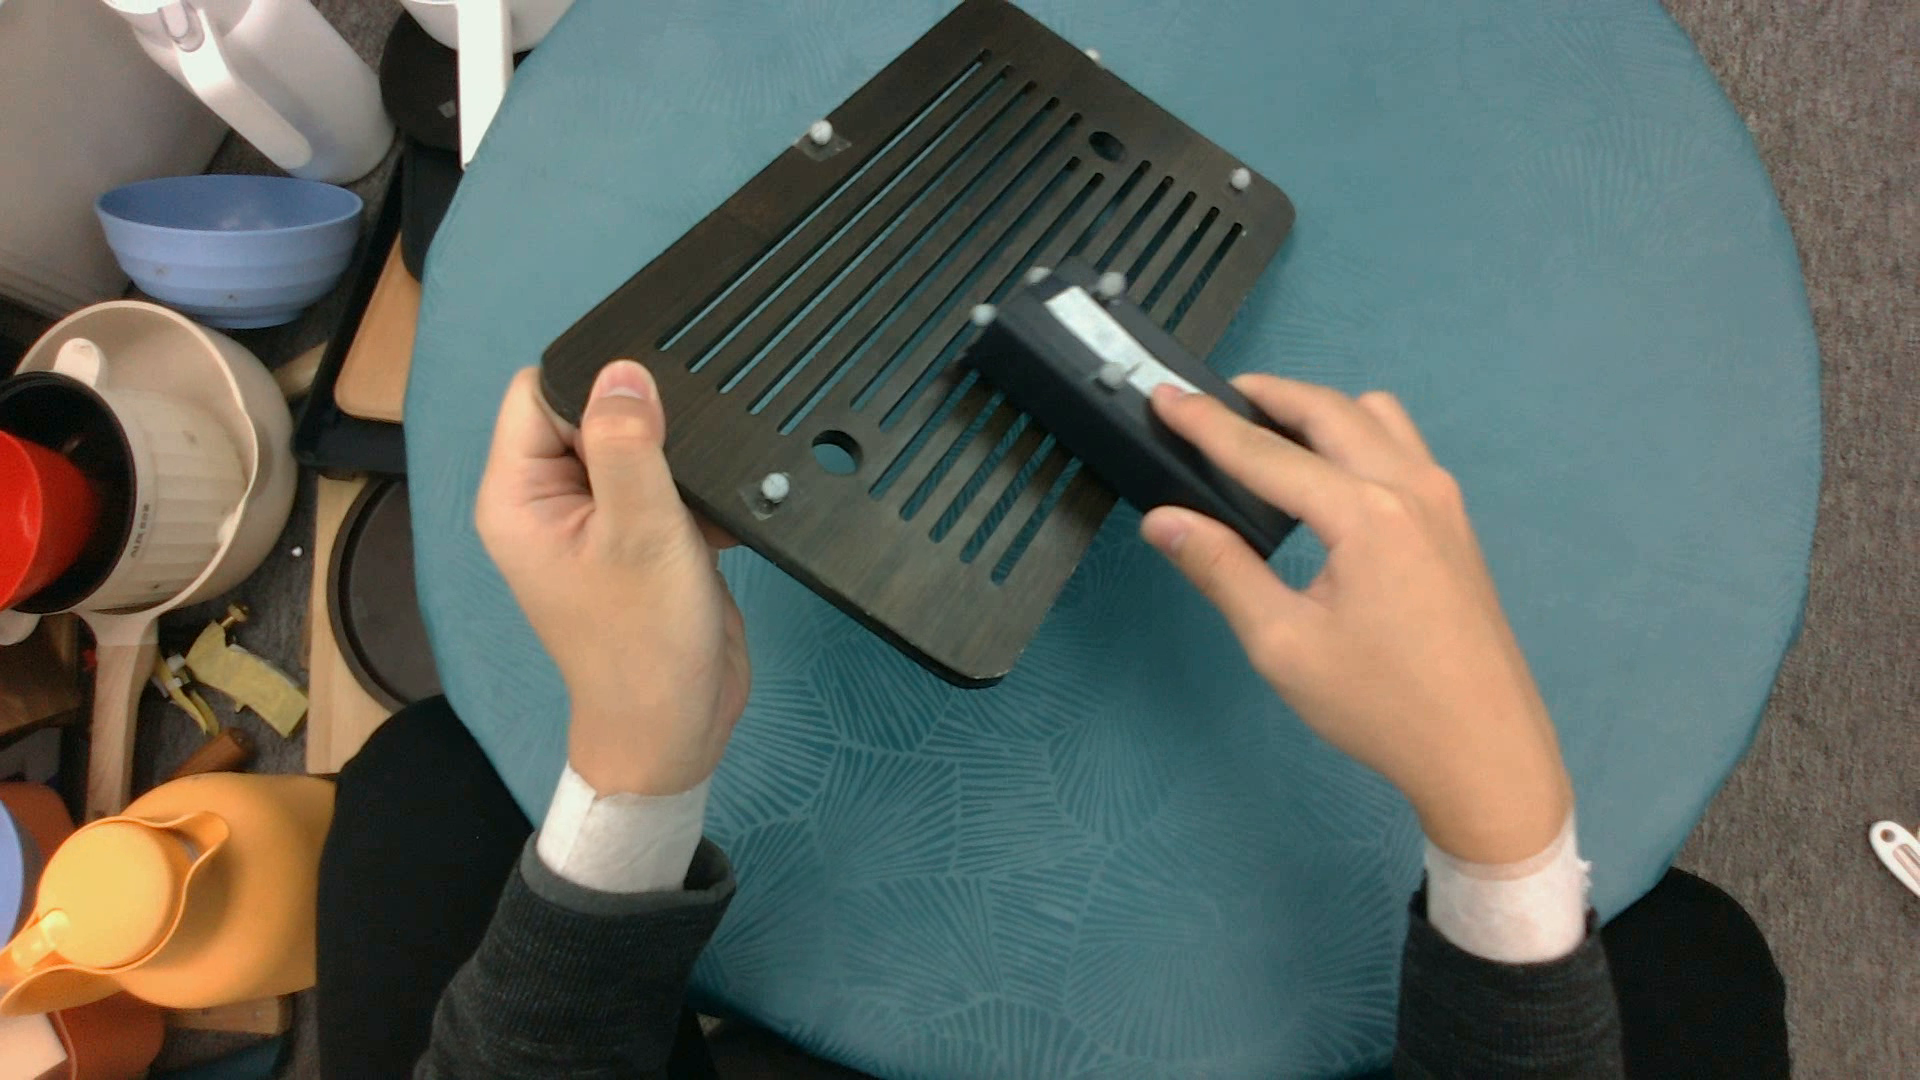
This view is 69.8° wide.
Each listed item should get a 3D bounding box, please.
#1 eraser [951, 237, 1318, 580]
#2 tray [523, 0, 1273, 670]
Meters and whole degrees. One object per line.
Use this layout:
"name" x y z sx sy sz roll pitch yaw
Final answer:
"eraser" 0.059 -0.045 0.468 0.125 0.030 0.054 41 53 5
"tray" 0.000 -0.098 0.505 0.170 0.018 0.307 34 50 1
